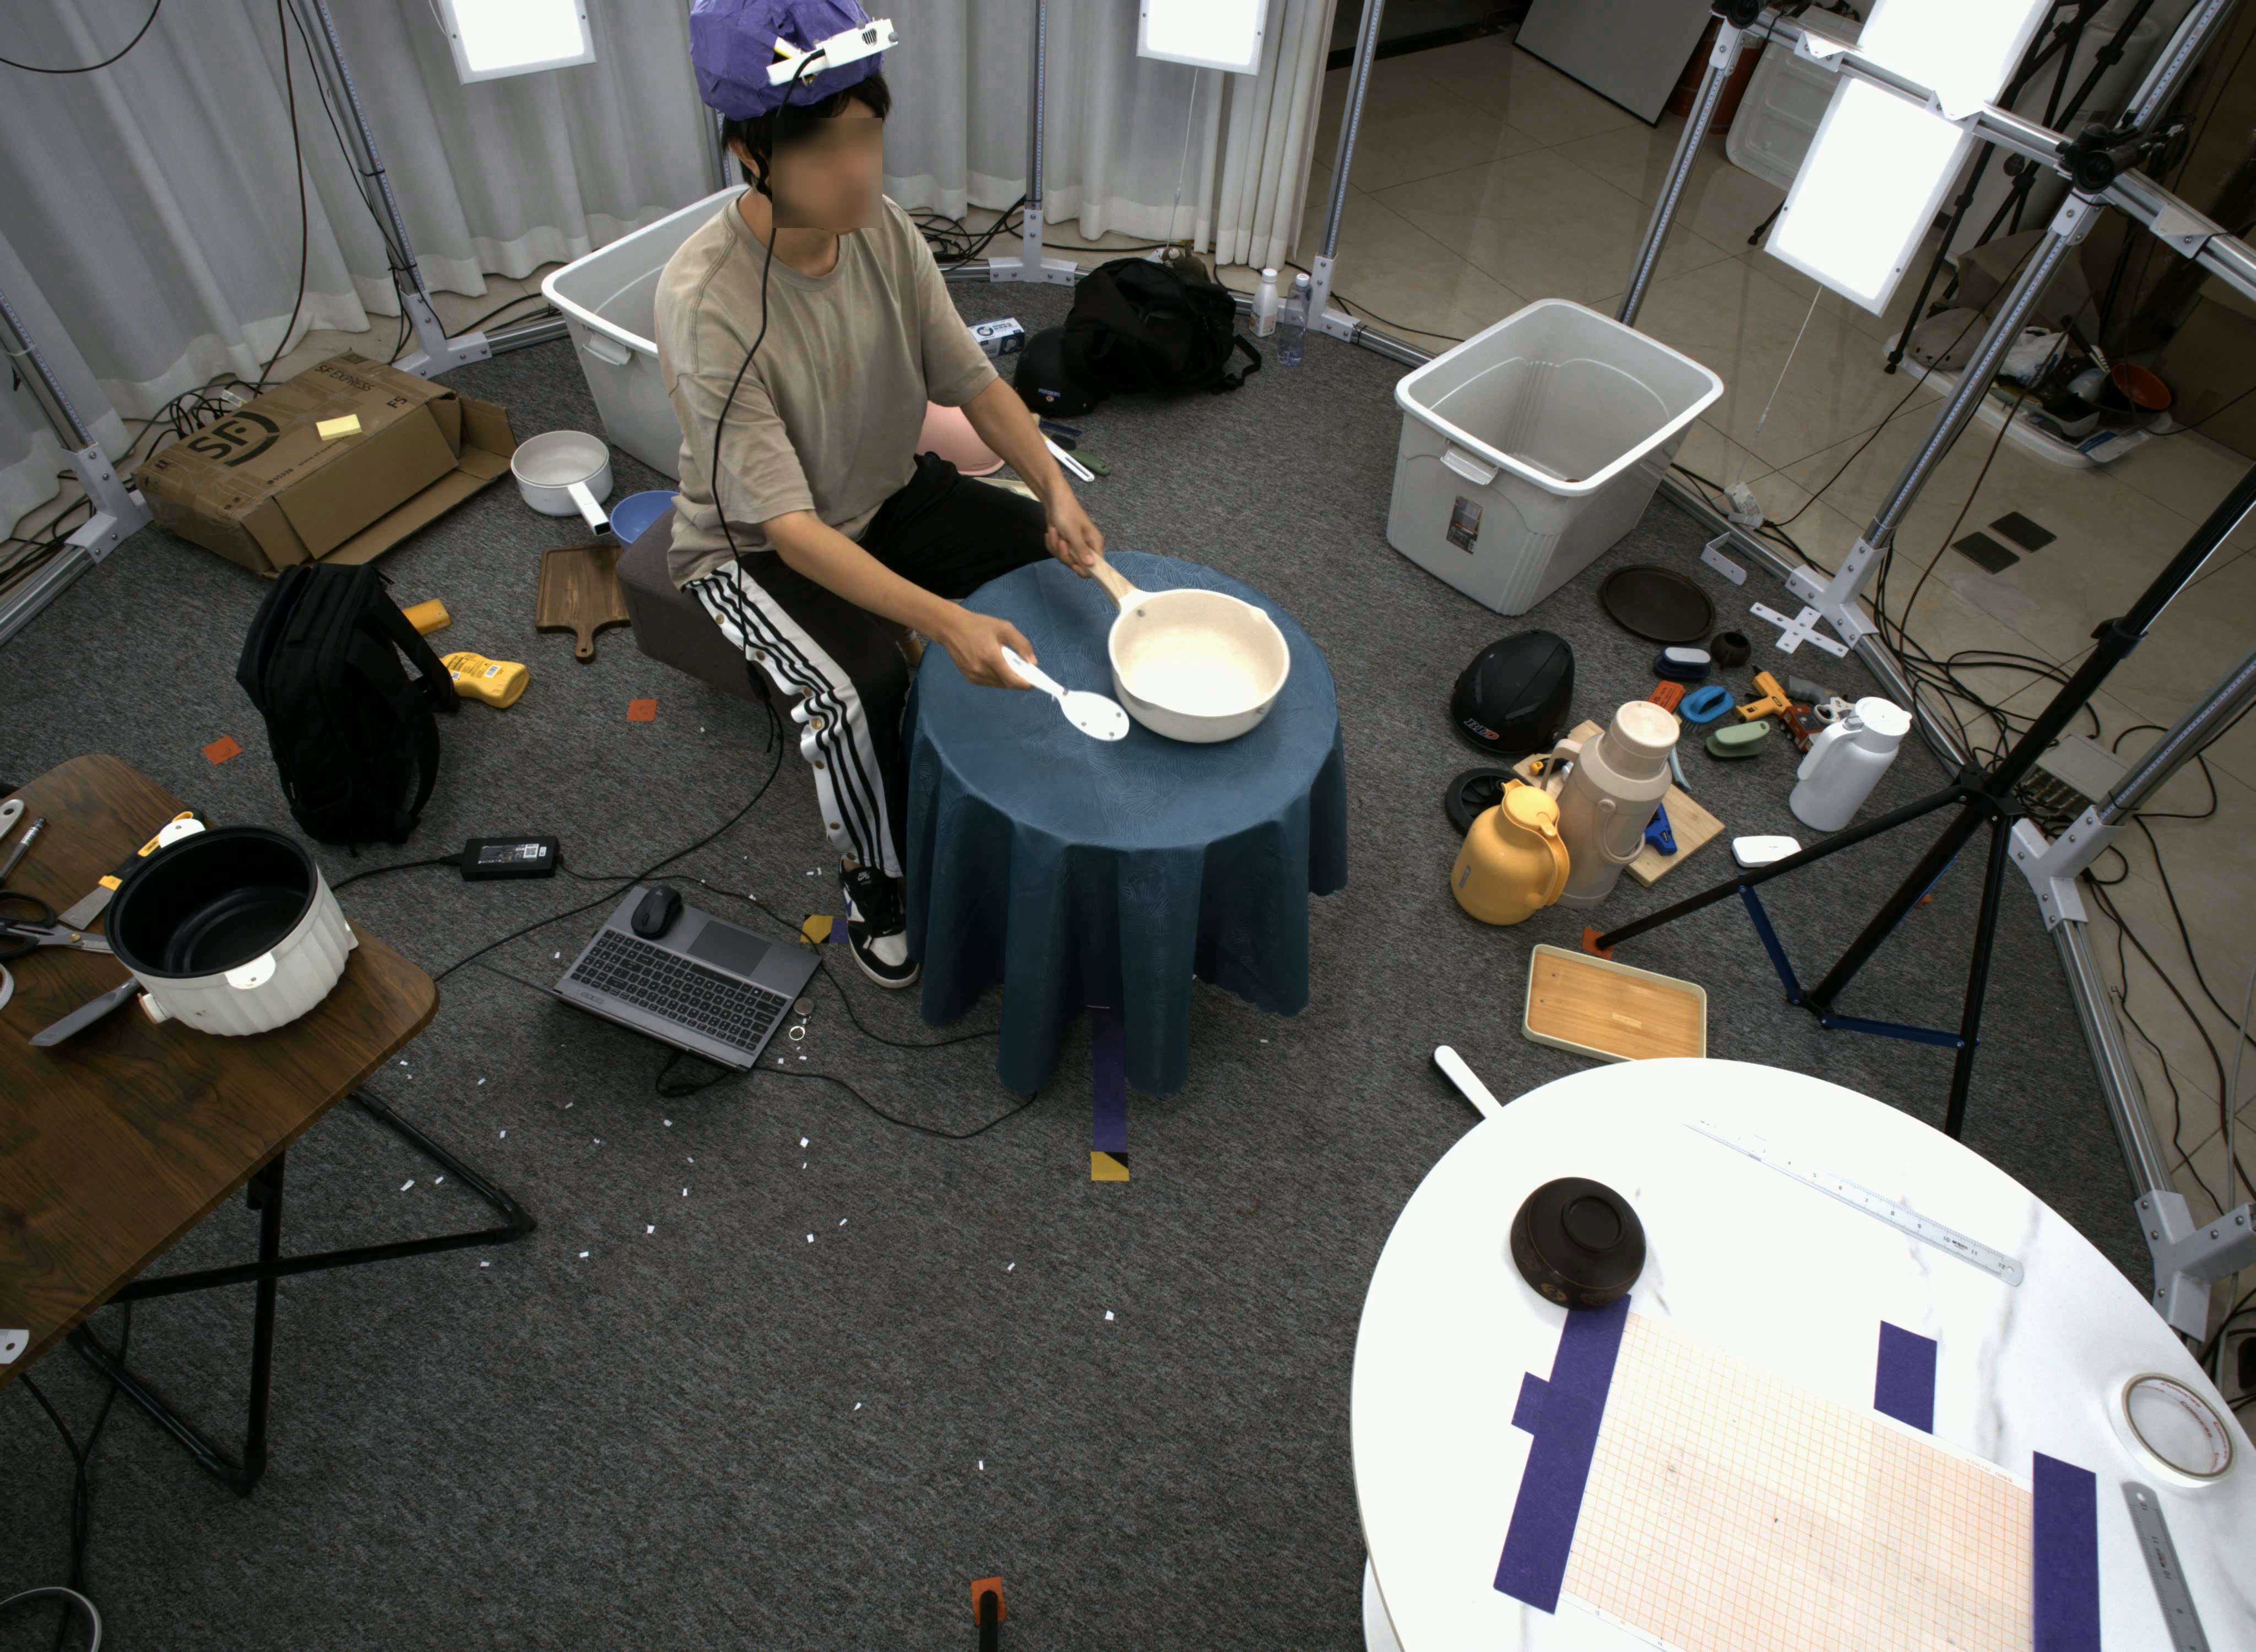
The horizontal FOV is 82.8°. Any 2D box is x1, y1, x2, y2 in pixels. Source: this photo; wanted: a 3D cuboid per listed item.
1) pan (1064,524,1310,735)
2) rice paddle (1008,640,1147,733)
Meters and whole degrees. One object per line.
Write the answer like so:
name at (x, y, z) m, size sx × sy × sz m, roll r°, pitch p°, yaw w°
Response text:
pan at (0.062, -0.288, 1.847) m, size 0.265 × 0.099 × 0.441 m, roll -35°, pitch 60°, yaw -28°
rice paddle at (-0.064, -0.179, 1.654) m, size 0.207 × 0.029 × 0.070 m, roll 32°, pitch 49°, yaw 16°
